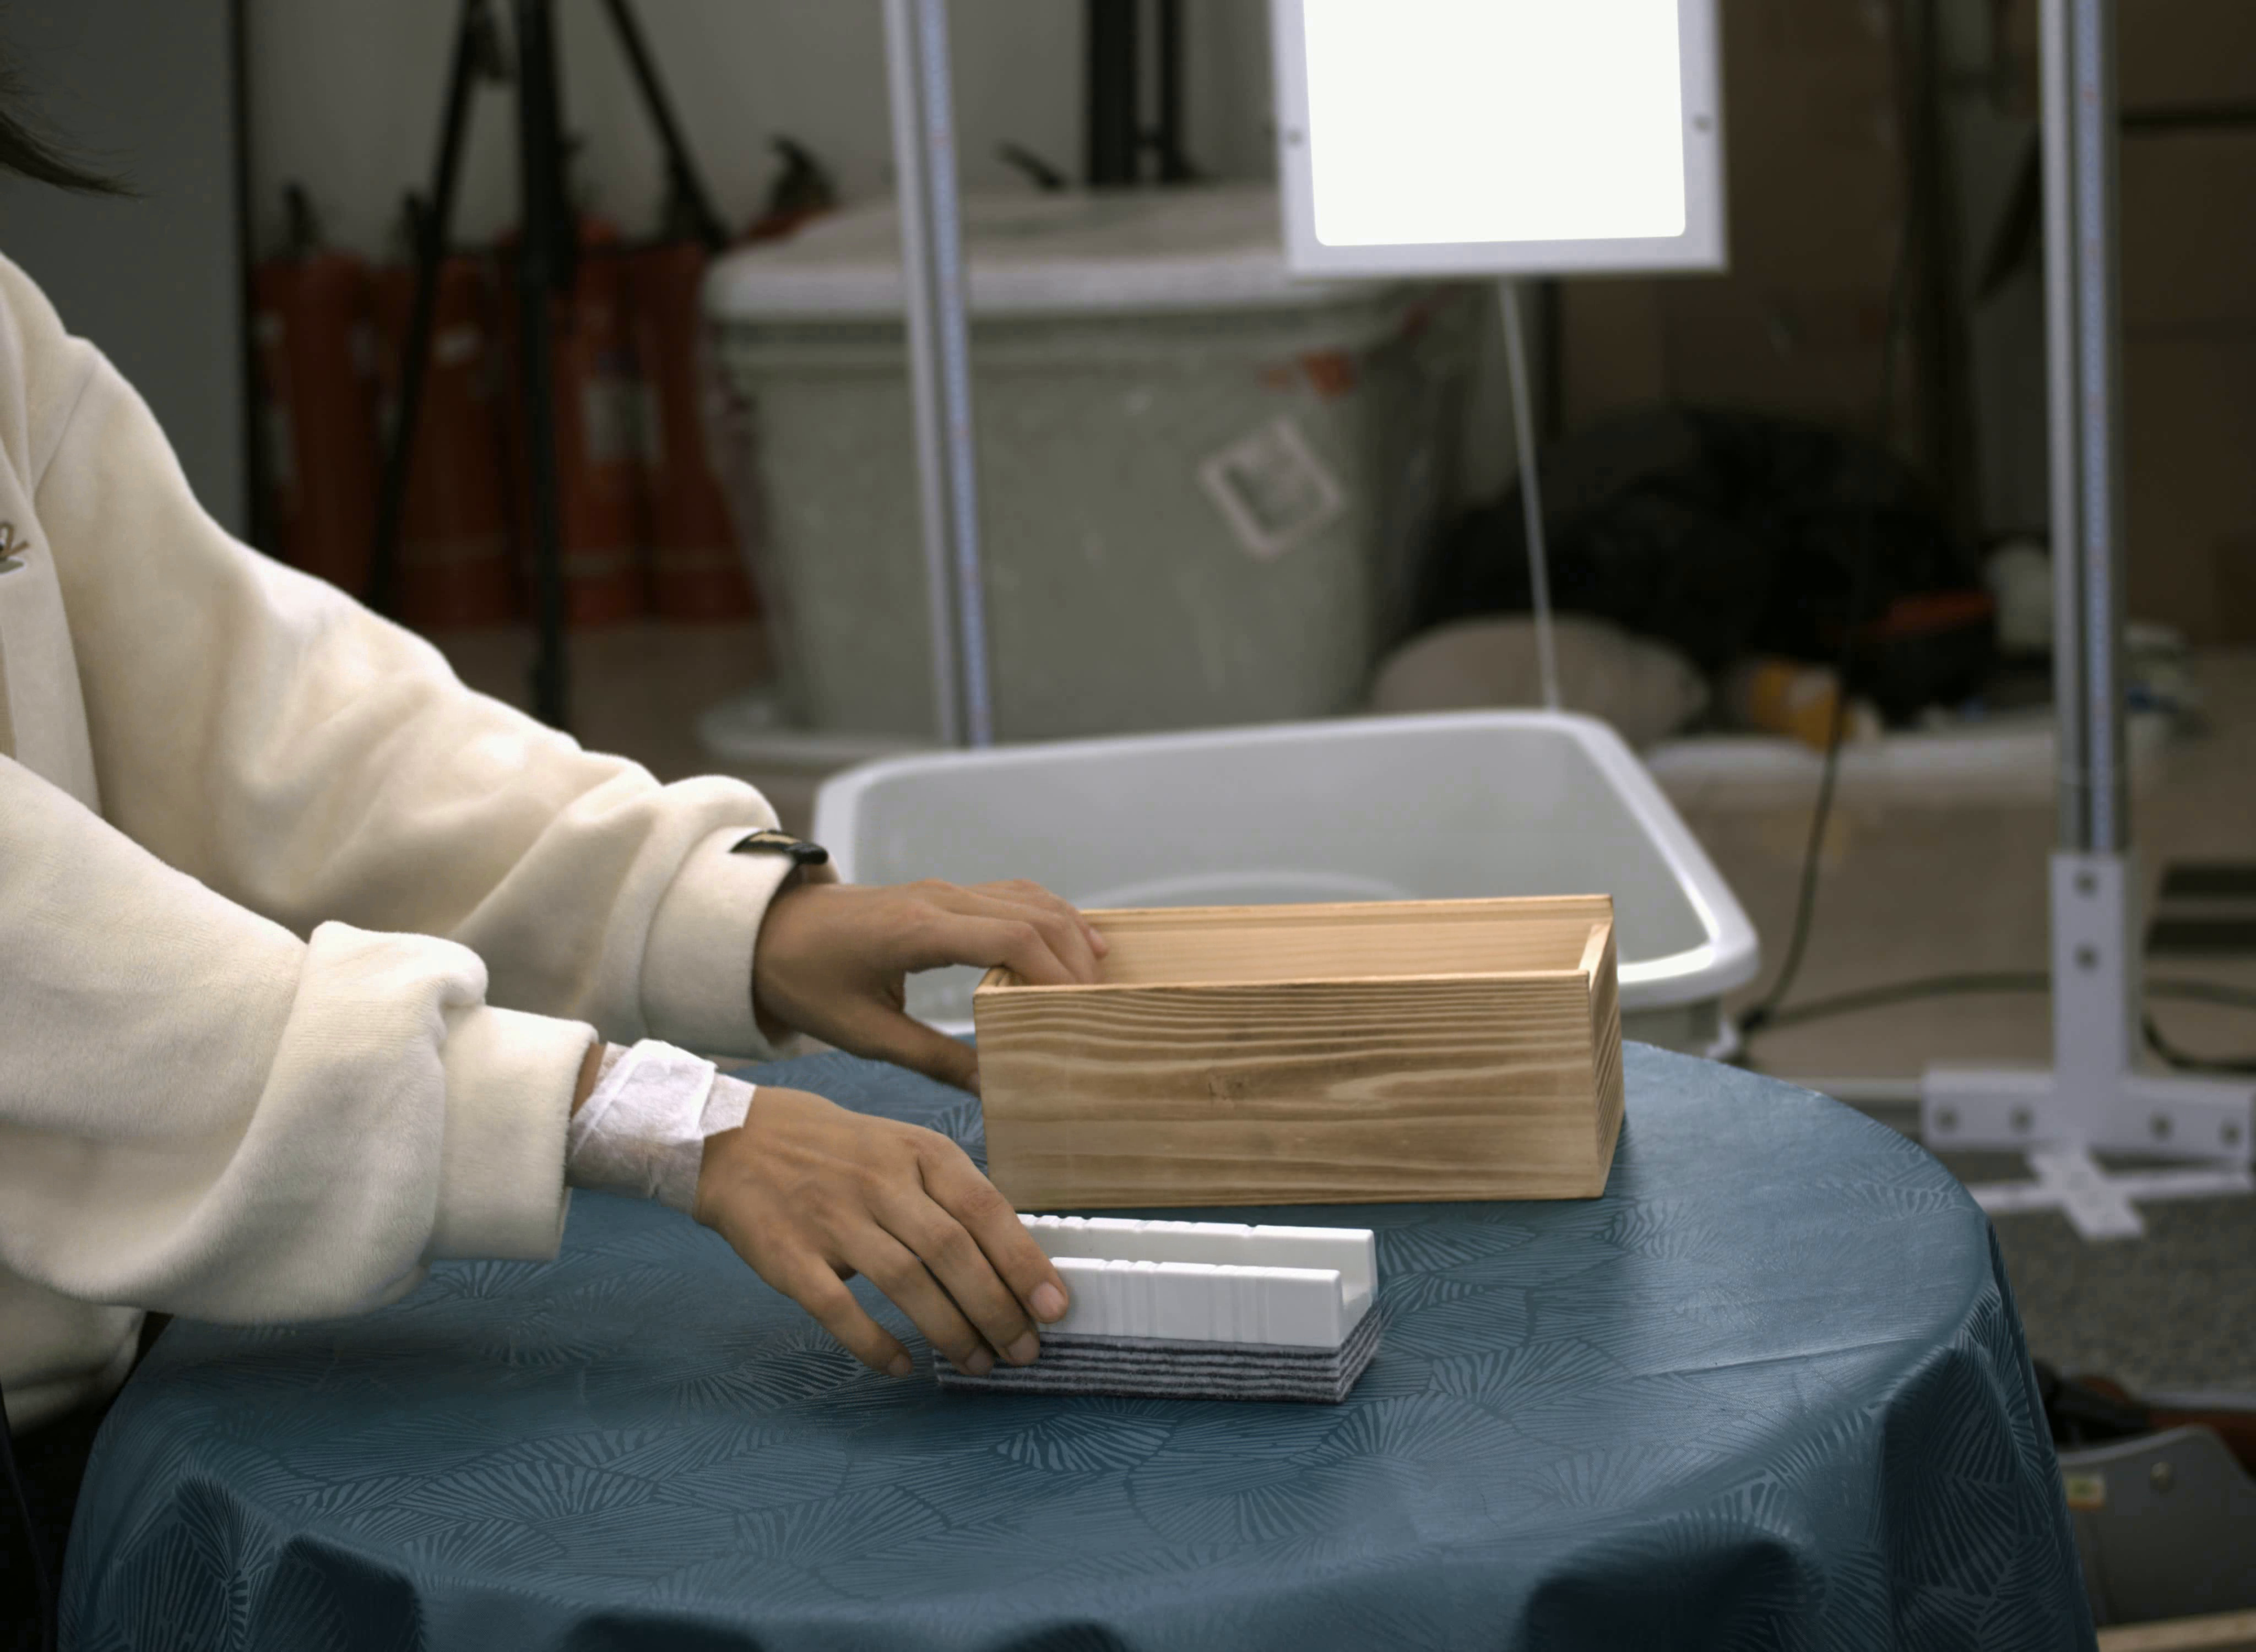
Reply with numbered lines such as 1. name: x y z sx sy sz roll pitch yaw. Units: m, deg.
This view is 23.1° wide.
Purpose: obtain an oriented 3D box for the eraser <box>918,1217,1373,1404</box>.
1. eraser: 0.006 0.149 1.706 0.136 0.047 0.049 1 17 17

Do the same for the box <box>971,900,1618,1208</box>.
1. box: 0.060 0.078 1.907 0.213 0.080 0.106 -2 14 11
